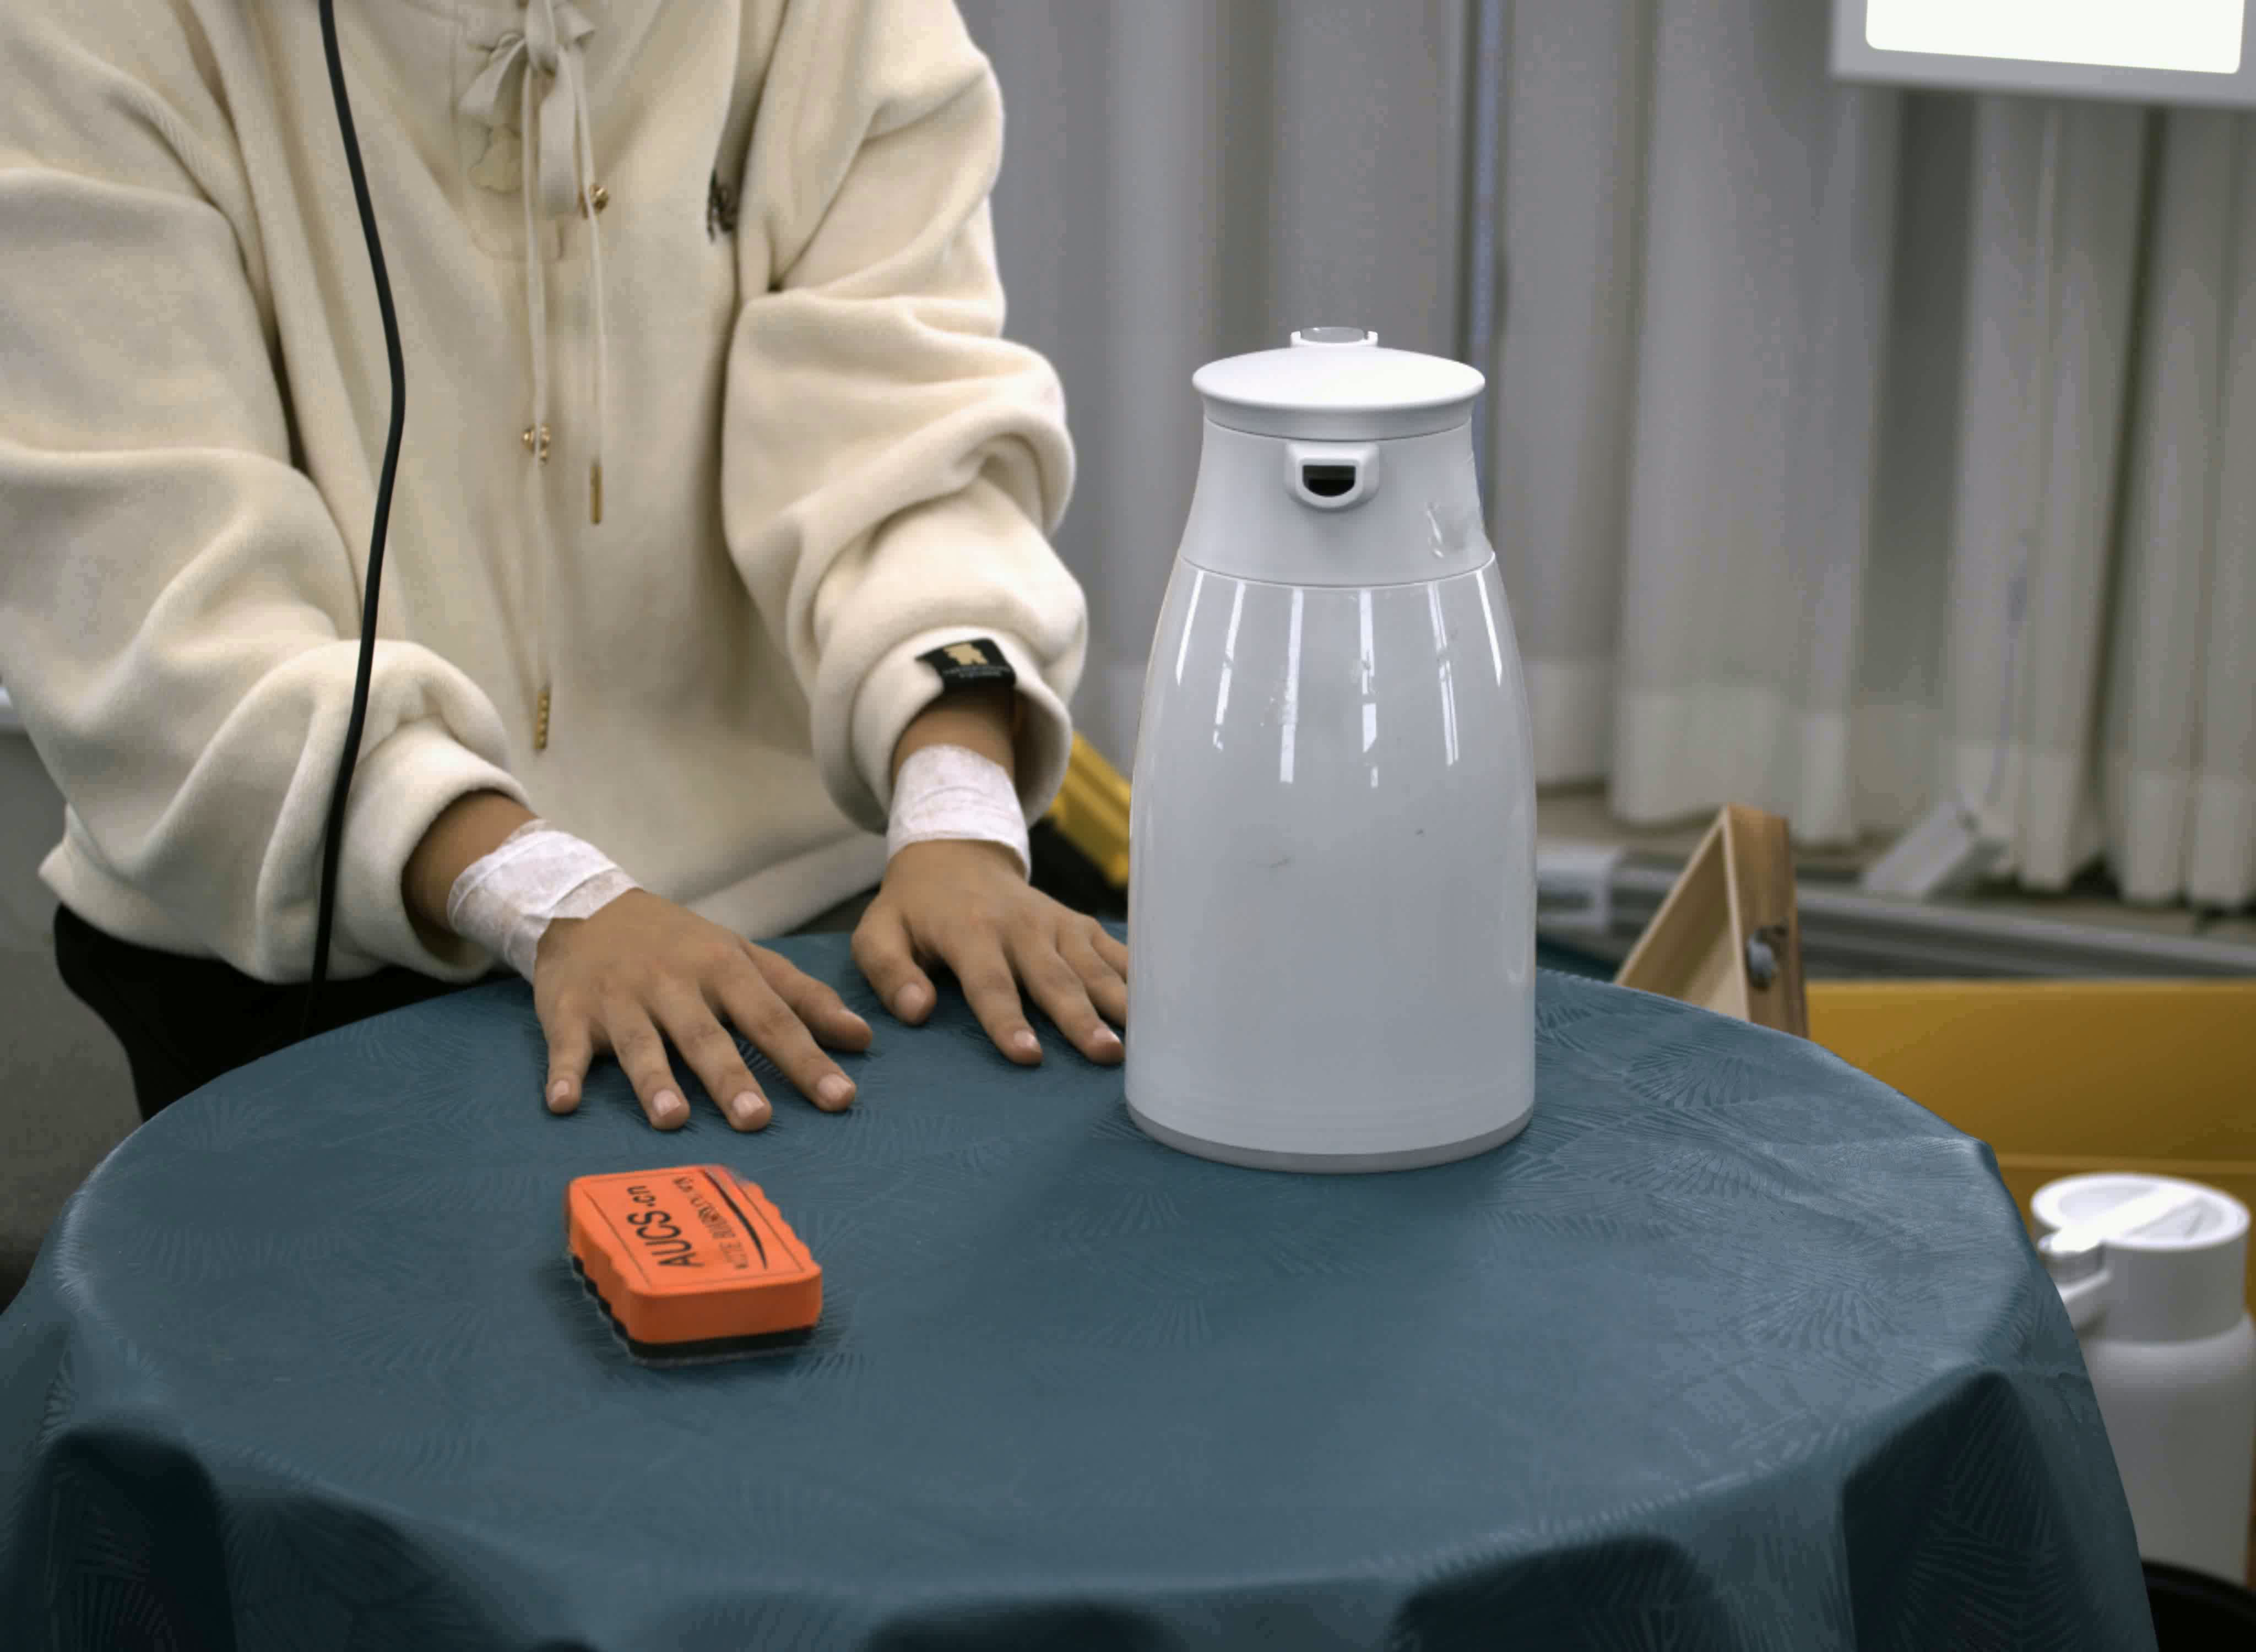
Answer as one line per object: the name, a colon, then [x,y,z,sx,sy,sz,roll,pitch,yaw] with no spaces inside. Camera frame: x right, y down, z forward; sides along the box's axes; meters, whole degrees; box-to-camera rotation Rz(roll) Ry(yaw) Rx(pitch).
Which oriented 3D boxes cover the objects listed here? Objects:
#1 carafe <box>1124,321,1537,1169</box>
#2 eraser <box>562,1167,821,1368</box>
carafe: [0.065,-0.034,1.683,0.132,0.250,0.167,1,15,3]
eraser: [-0.127,0.127,1.522,0.059,0.023,0.107,-2,16,-18]
